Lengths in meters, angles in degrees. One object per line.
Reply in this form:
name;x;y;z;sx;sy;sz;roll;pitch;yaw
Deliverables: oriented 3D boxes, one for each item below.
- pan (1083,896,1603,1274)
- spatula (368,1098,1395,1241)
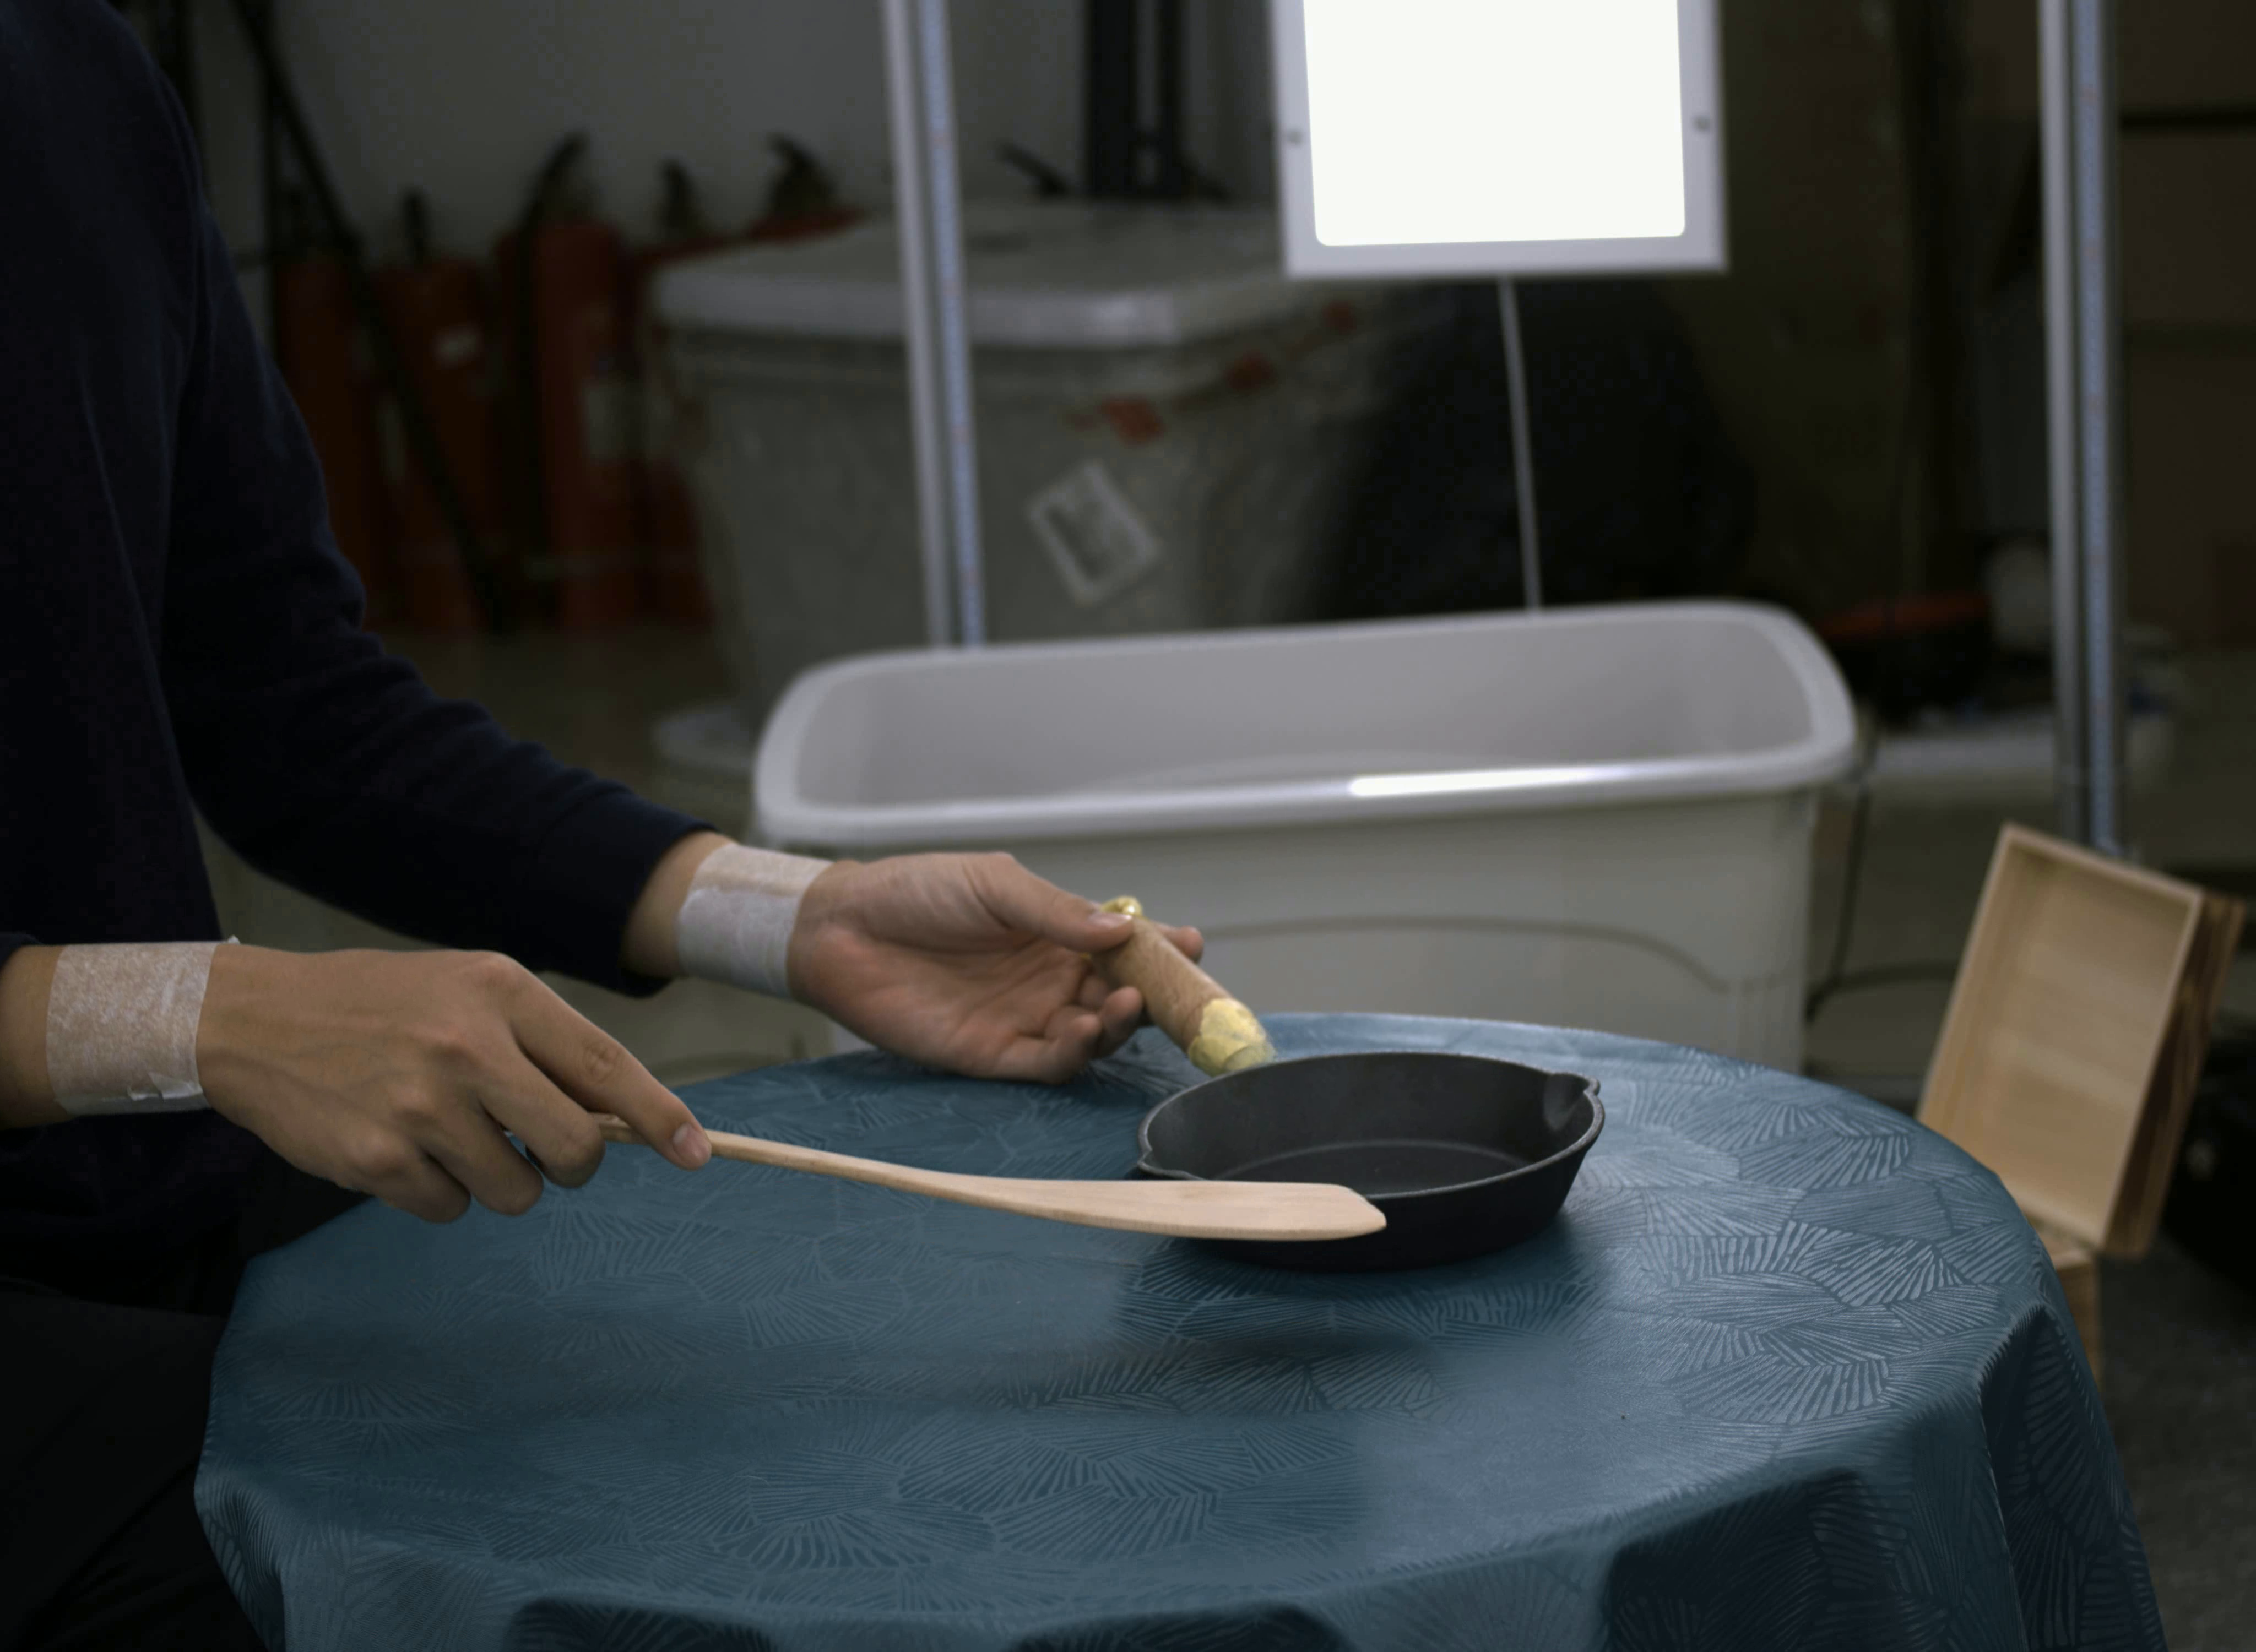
pan;0.052;0.087;1.921;0.166;0.050;0.328;-10;17;-18
spatula;-0.078;0.105;1.728;0.328;0.016;0.079;7;7;7
